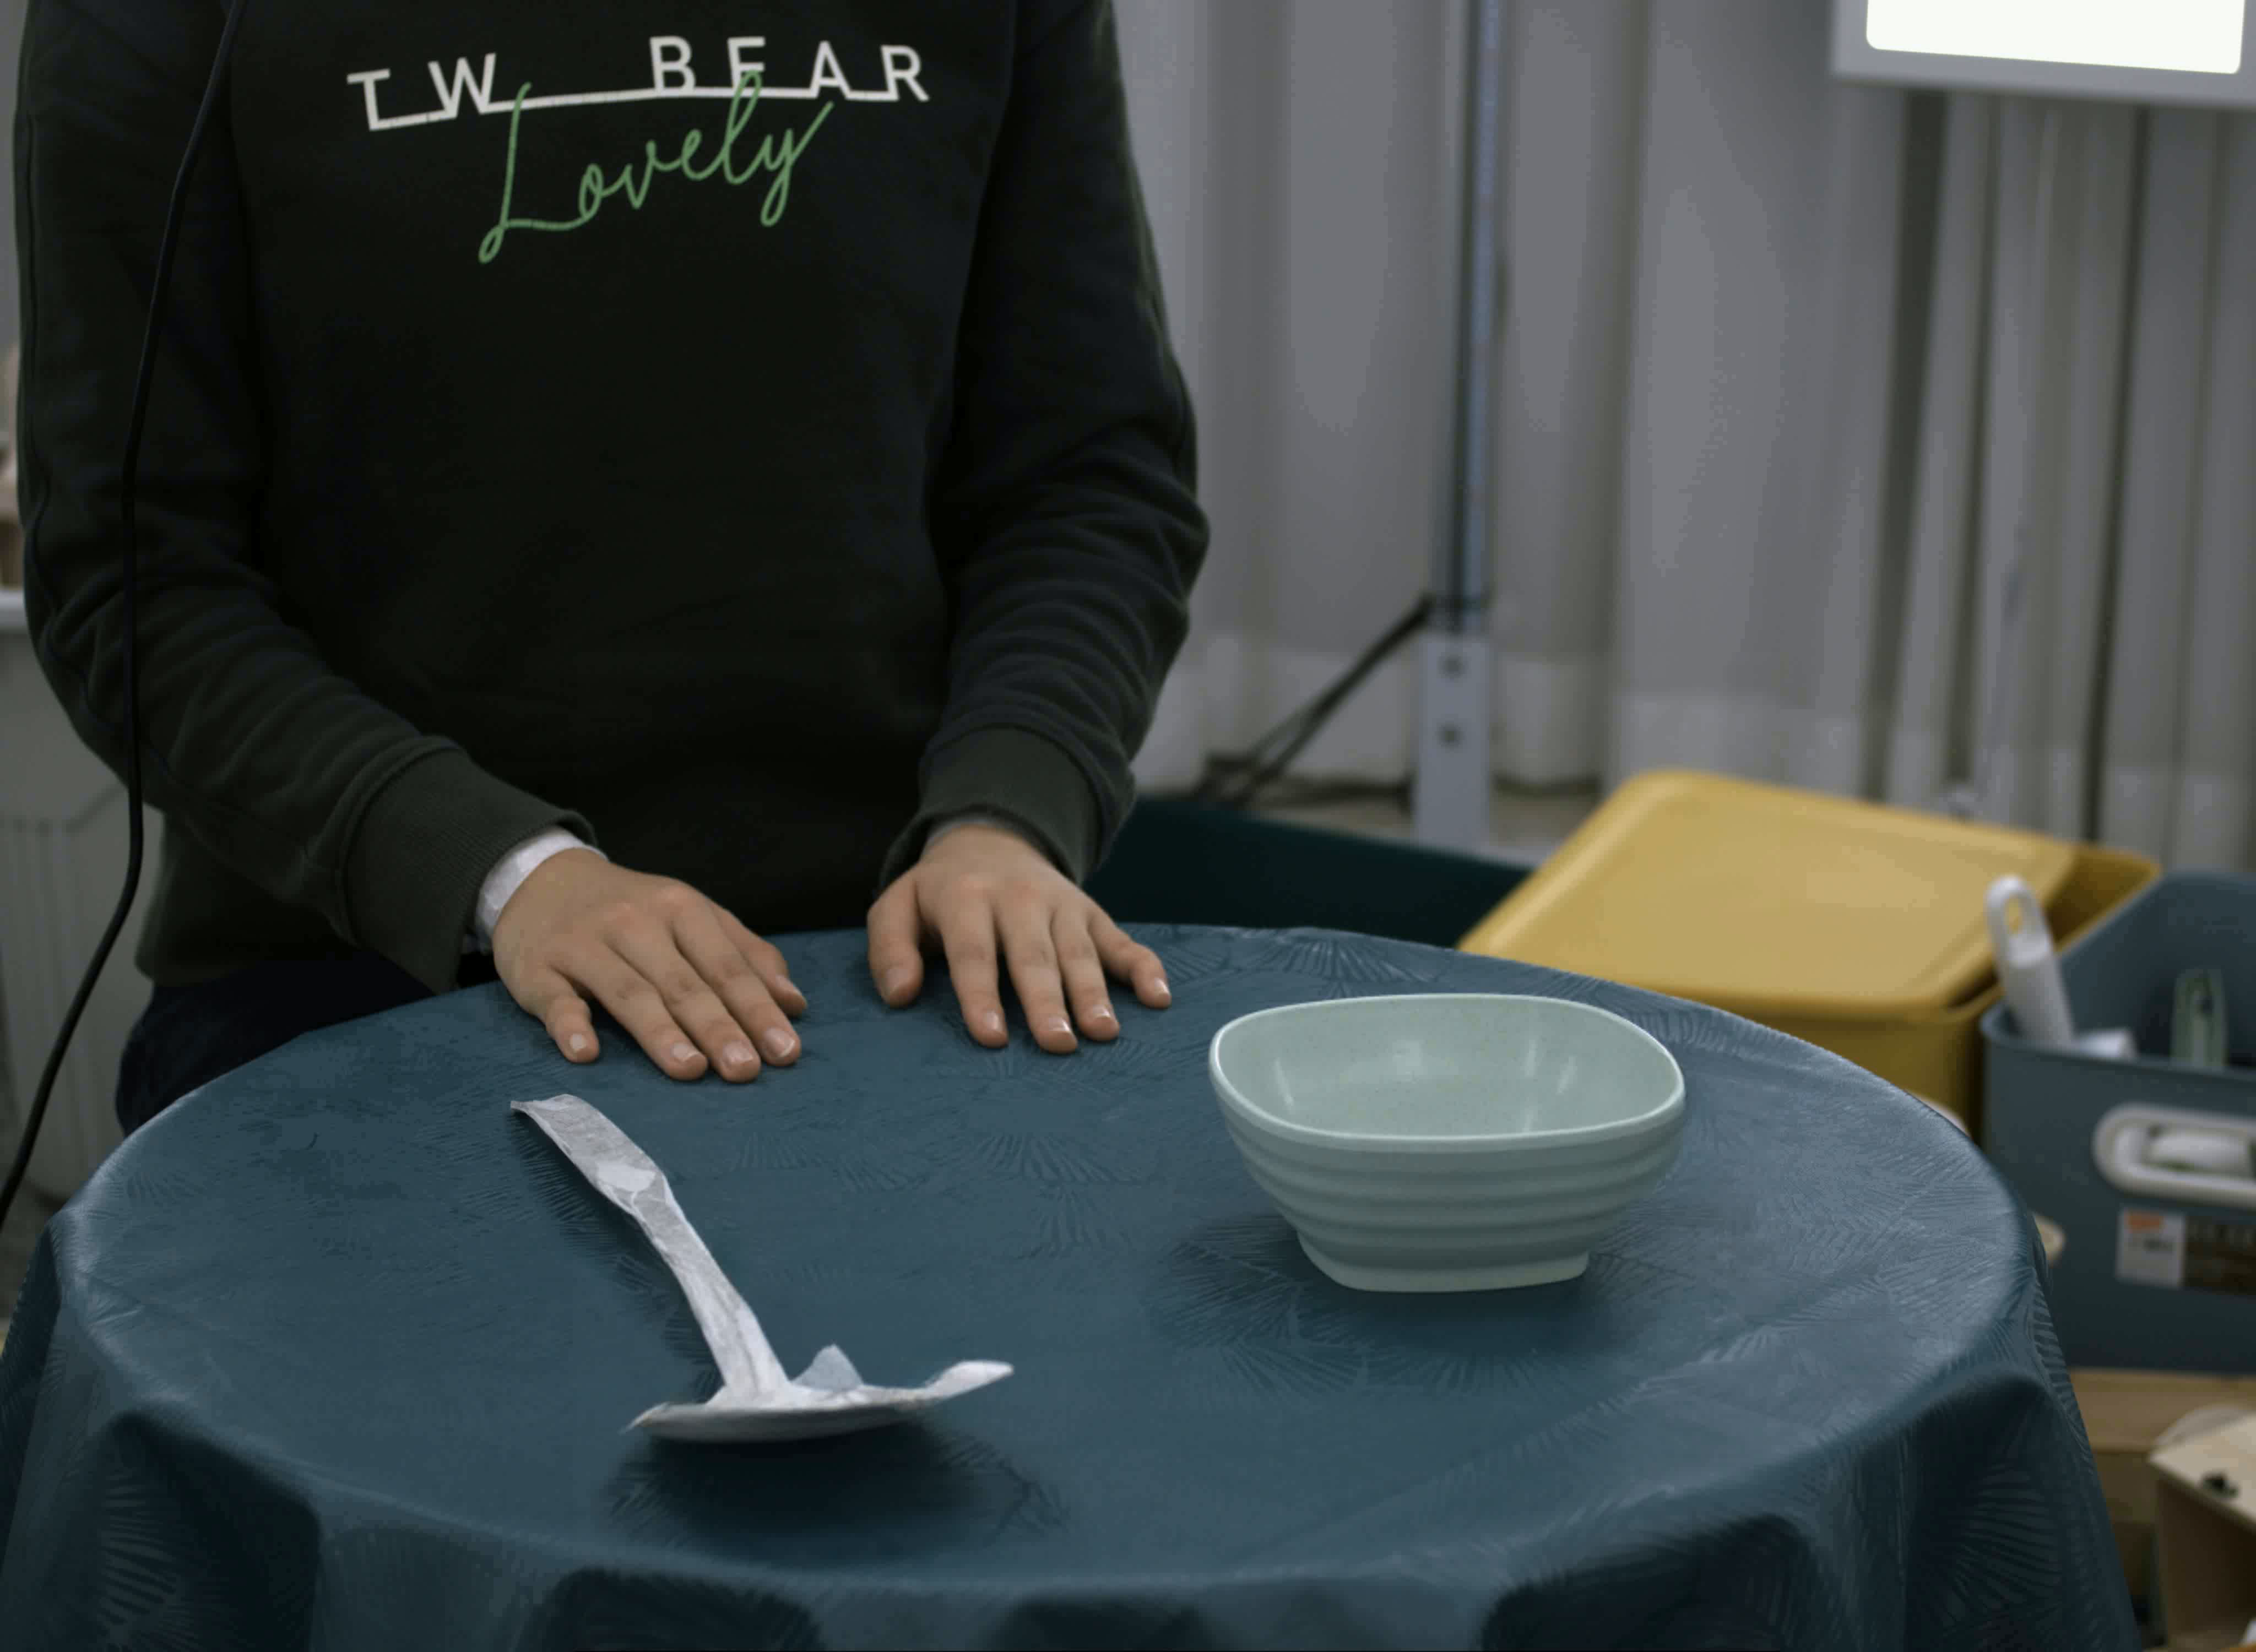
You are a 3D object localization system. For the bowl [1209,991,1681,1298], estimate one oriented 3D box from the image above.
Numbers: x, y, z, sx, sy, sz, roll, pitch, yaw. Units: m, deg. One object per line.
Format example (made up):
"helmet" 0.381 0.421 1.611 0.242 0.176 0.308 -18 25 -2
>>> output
"bowl" 0.092 0.099 1.576 0.151 0.059 0.150 4 17 -1

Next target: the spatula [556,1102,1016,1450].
"spatula" -0.124 0.121 1.522 0.099 0.045 0.361 -6 17 -17
